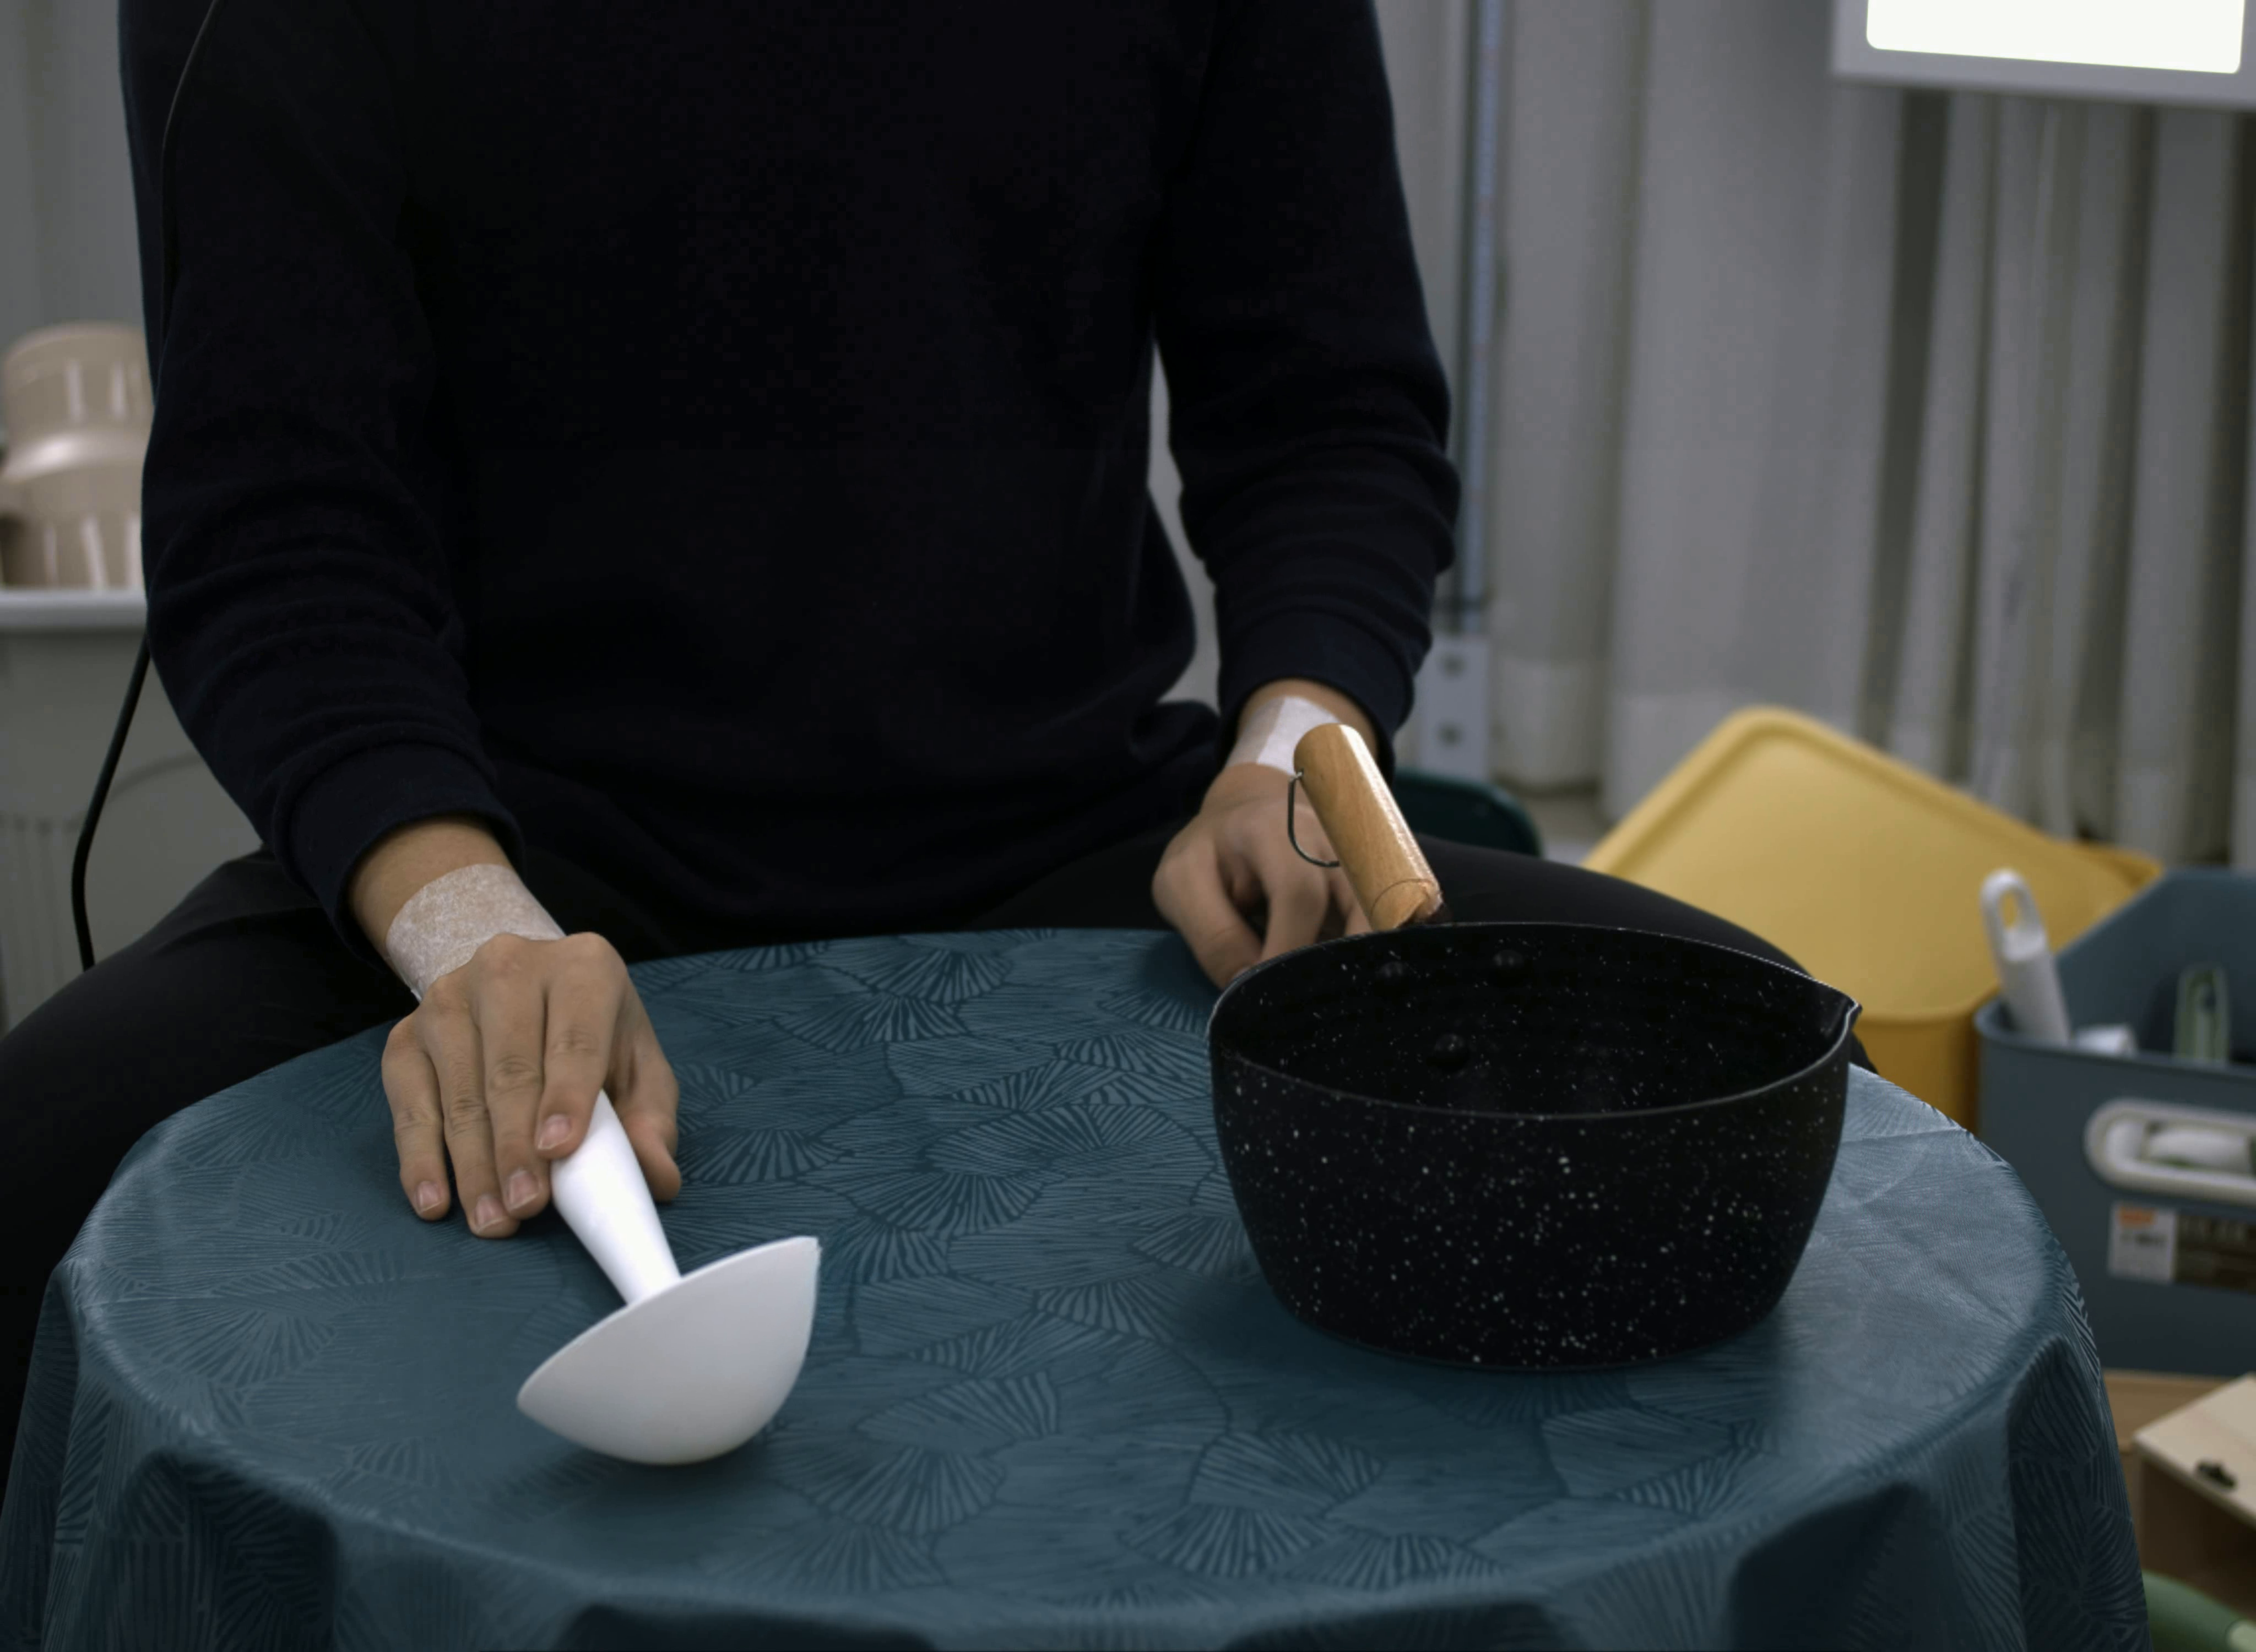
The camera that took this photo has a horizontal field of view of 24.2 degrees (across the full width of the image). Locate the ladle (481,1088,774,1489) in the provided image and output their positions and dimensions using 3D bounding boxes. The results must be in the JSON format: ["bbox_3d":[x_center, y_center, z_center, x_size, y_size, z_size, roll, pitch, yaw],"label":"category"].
[{"bbox_3d":[-0.153,0.117,1.502,0.090,0.070,0.290,-34,20,-3],"label":"ladle"}]

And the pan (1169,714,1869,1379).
[{"bbox_3d":[0.099,0.062,1.605,0.207,0.109,0.339,-4,18,-12],"label":"pan"}]
